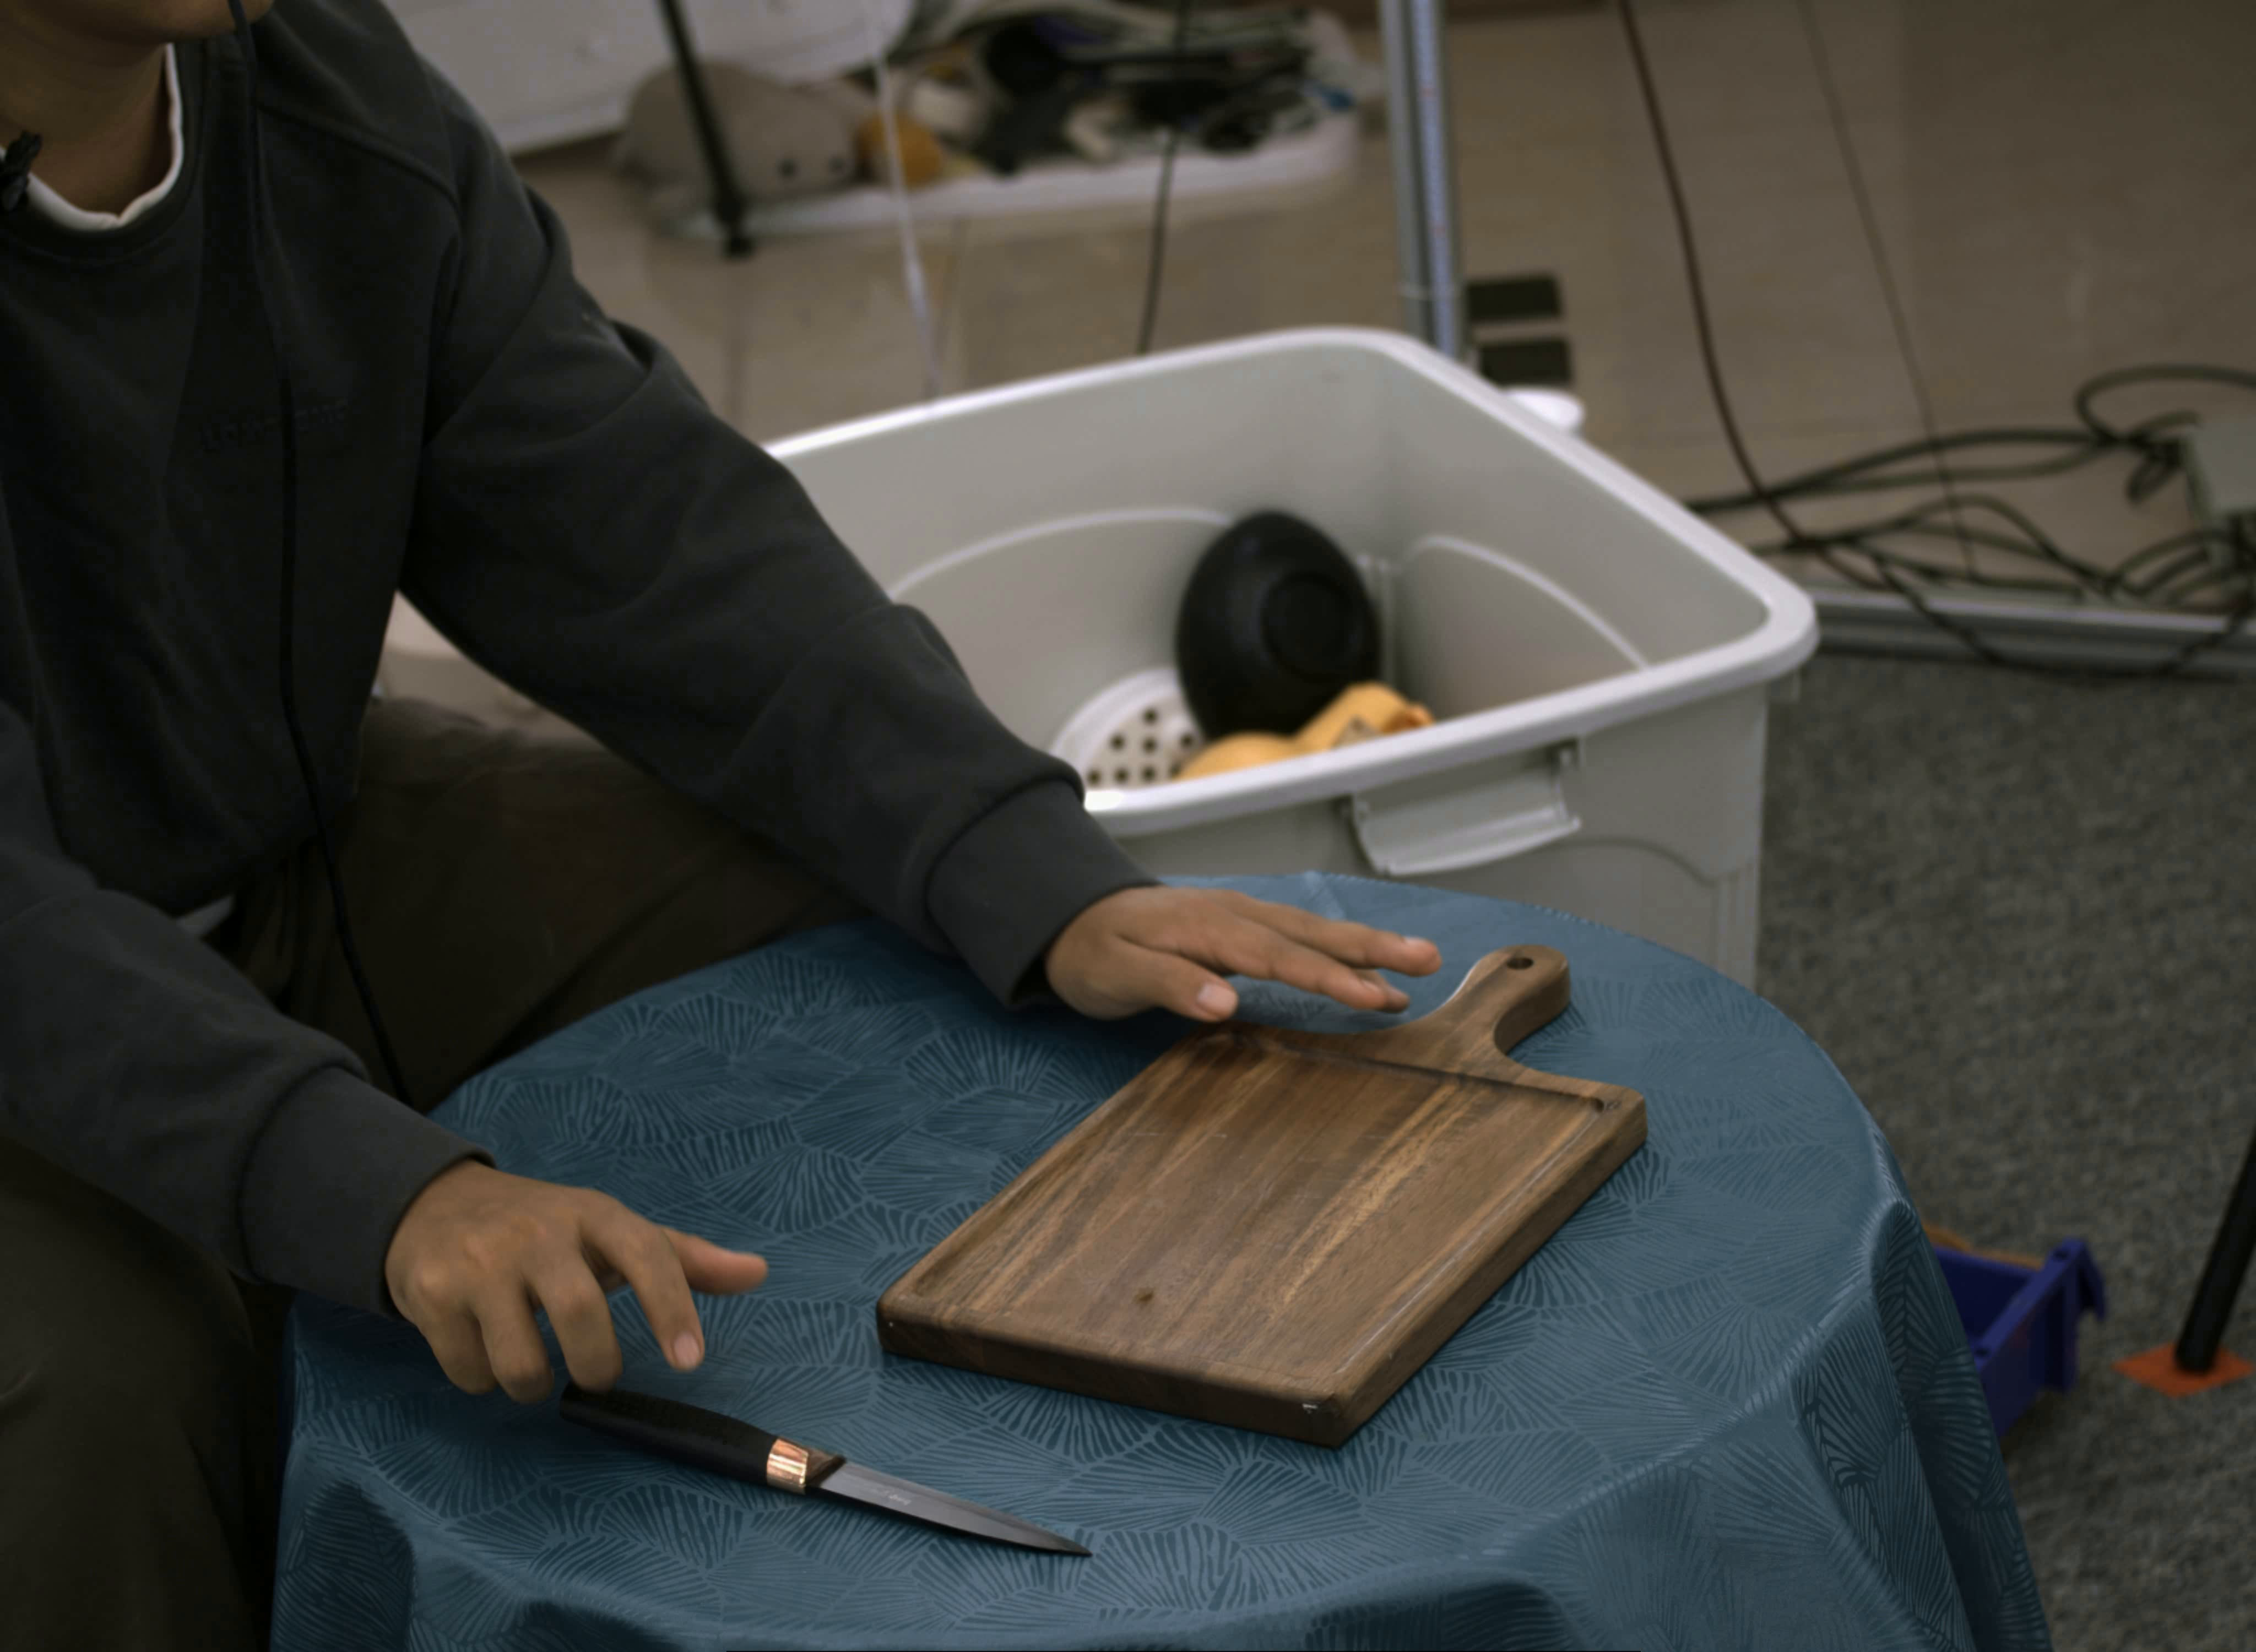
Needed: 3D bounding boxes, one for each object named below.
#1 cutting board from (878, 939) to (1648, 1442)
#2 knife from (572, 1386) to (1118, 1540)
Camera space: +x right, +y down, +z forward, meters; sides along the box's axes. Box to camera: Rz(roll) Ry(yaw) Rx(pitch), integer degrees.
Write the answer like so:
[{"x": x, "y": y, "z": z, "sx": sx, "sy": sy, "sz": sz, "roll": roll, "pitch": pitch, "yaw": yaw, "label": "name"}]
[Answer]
[{"x": 0.078, "y": 0.125, "z": 2.135, "sx": 0.200, "sy": 0.023, "sz": 0.348, "roll": 9, "pitch": 29, "yaw": 30, "label": "cutting board"}, {"x": -0.101, "y": 0.224, "z": 1.975, "sx": 0.224, "sy": 0.017, "sz": 0.026, "roll": 11, "pitch": 25, "yaw": 31, "label": "knife"}]
